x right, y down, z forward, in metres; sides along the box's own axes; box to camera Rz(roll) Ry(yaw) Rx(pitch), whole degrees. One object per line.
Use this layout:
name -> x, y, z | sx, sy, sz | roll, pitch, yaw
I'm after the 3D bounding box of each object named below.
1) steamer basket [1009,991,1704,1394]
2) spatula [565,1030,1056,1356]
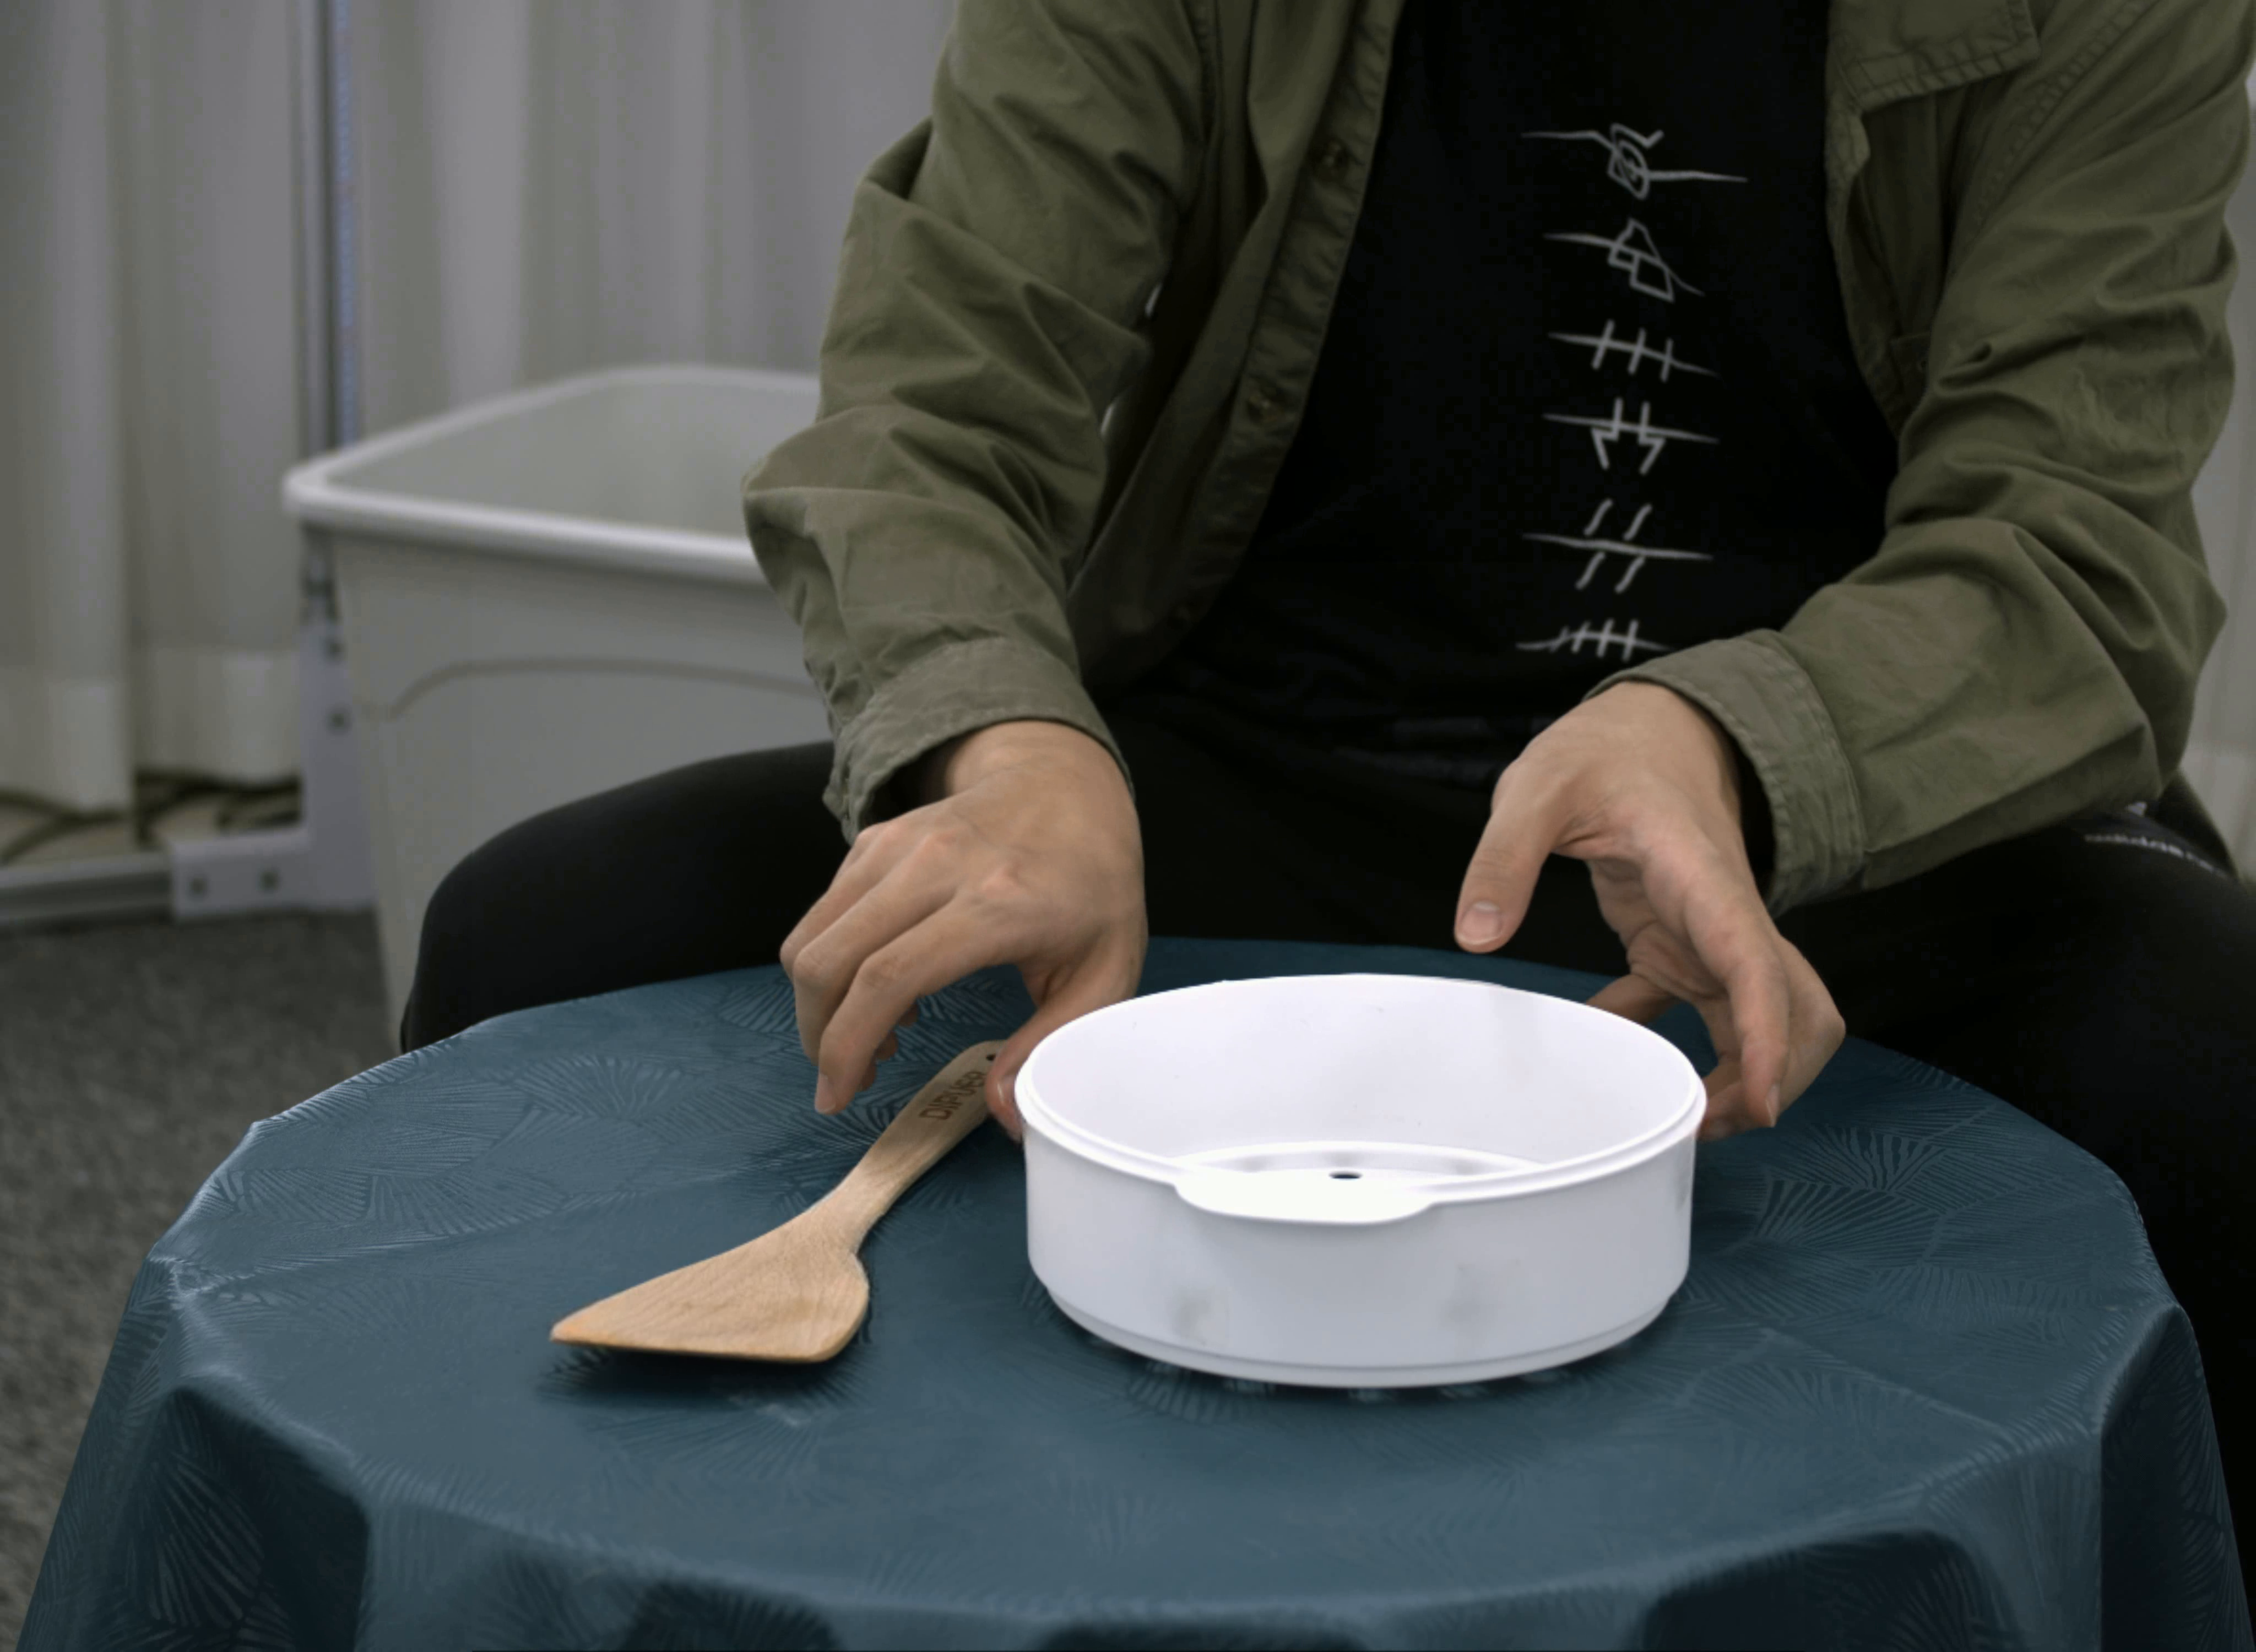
steamer basket -> 0.066, 0.106, 1.534 | 0.200, 0.070, 0.230 | 4, 14, 11
spatula -> -0.078, 0.109, 1.609 | 0.079, 0.016, 0.327 | 5, 16, 15
